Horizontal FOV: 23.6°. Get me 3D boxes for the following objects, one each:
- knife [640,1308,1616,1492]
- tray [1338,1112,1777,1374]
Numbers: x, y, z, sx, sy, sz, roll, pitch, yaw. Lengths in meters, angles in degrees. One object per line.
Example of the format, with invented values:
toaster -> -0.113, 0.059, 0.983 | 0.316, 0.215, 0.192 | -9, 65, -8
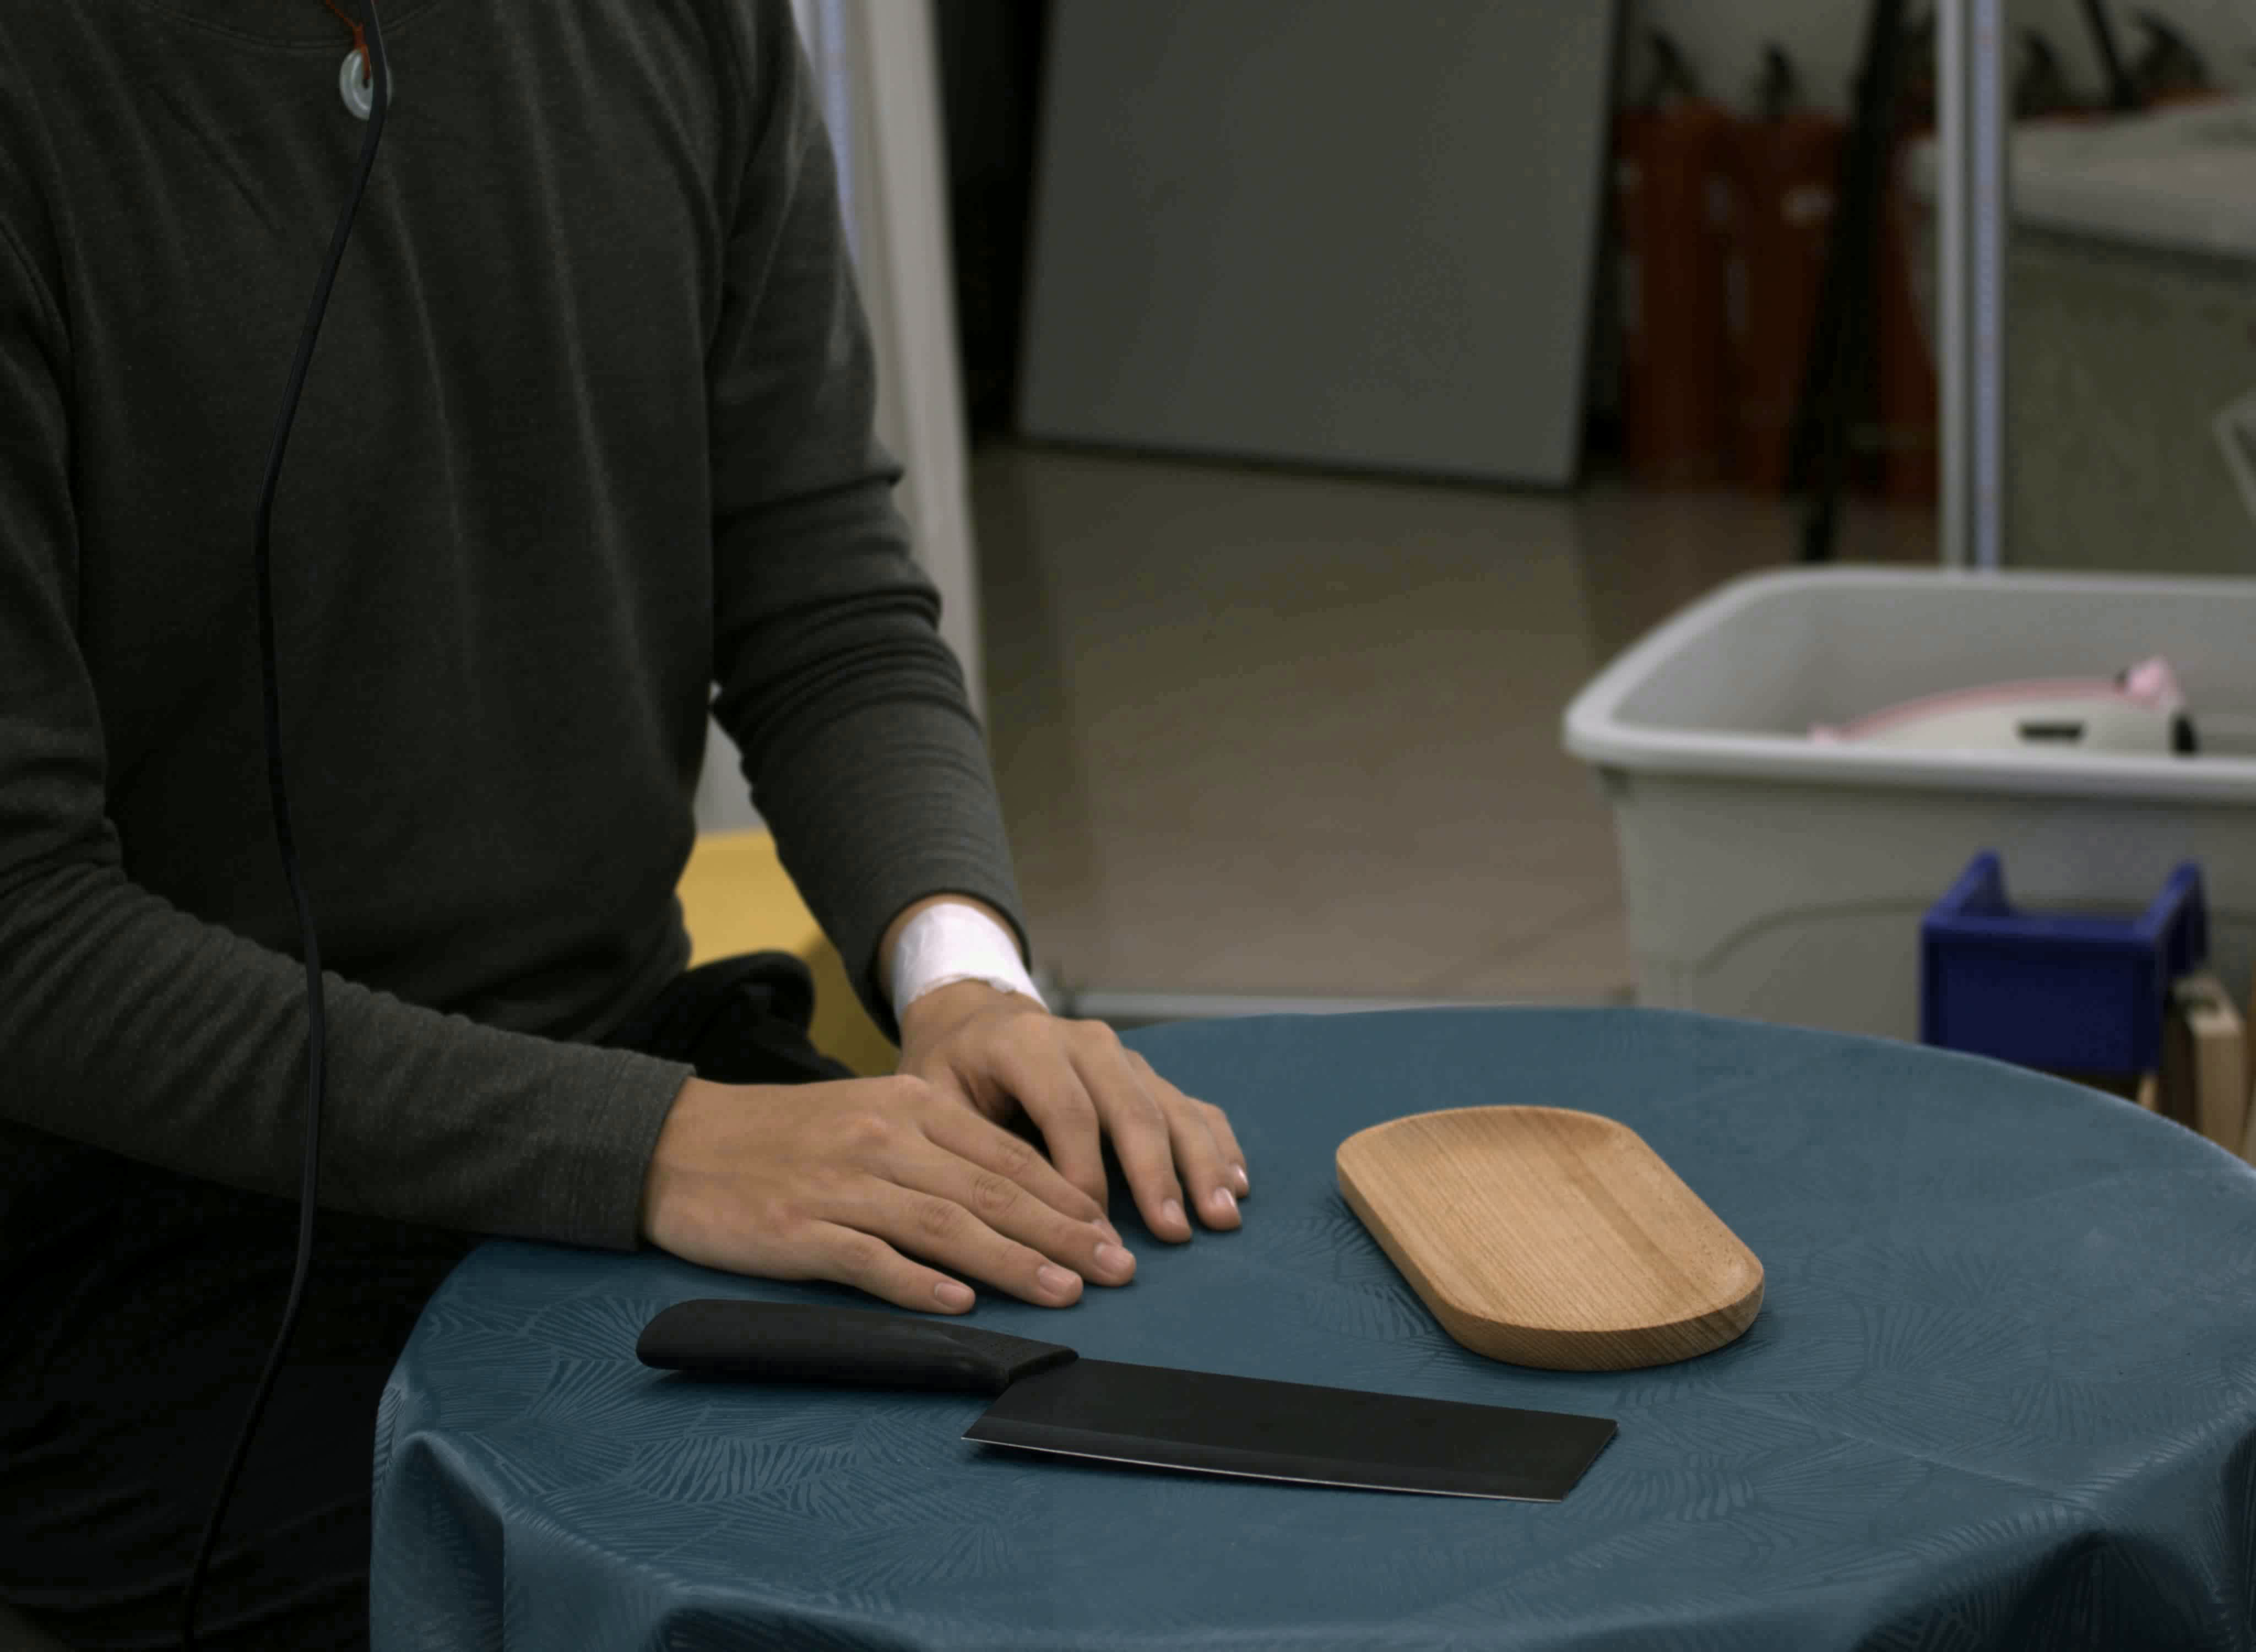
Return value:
knife -> -0.007, 0.167, 1.560 | 0.303, 0.021, 0.080 | 5, 17, 27
tray -> 0.131, 0.128, 1.676 | 0.100, 0.020, 0.232 | -8, 15, -10
